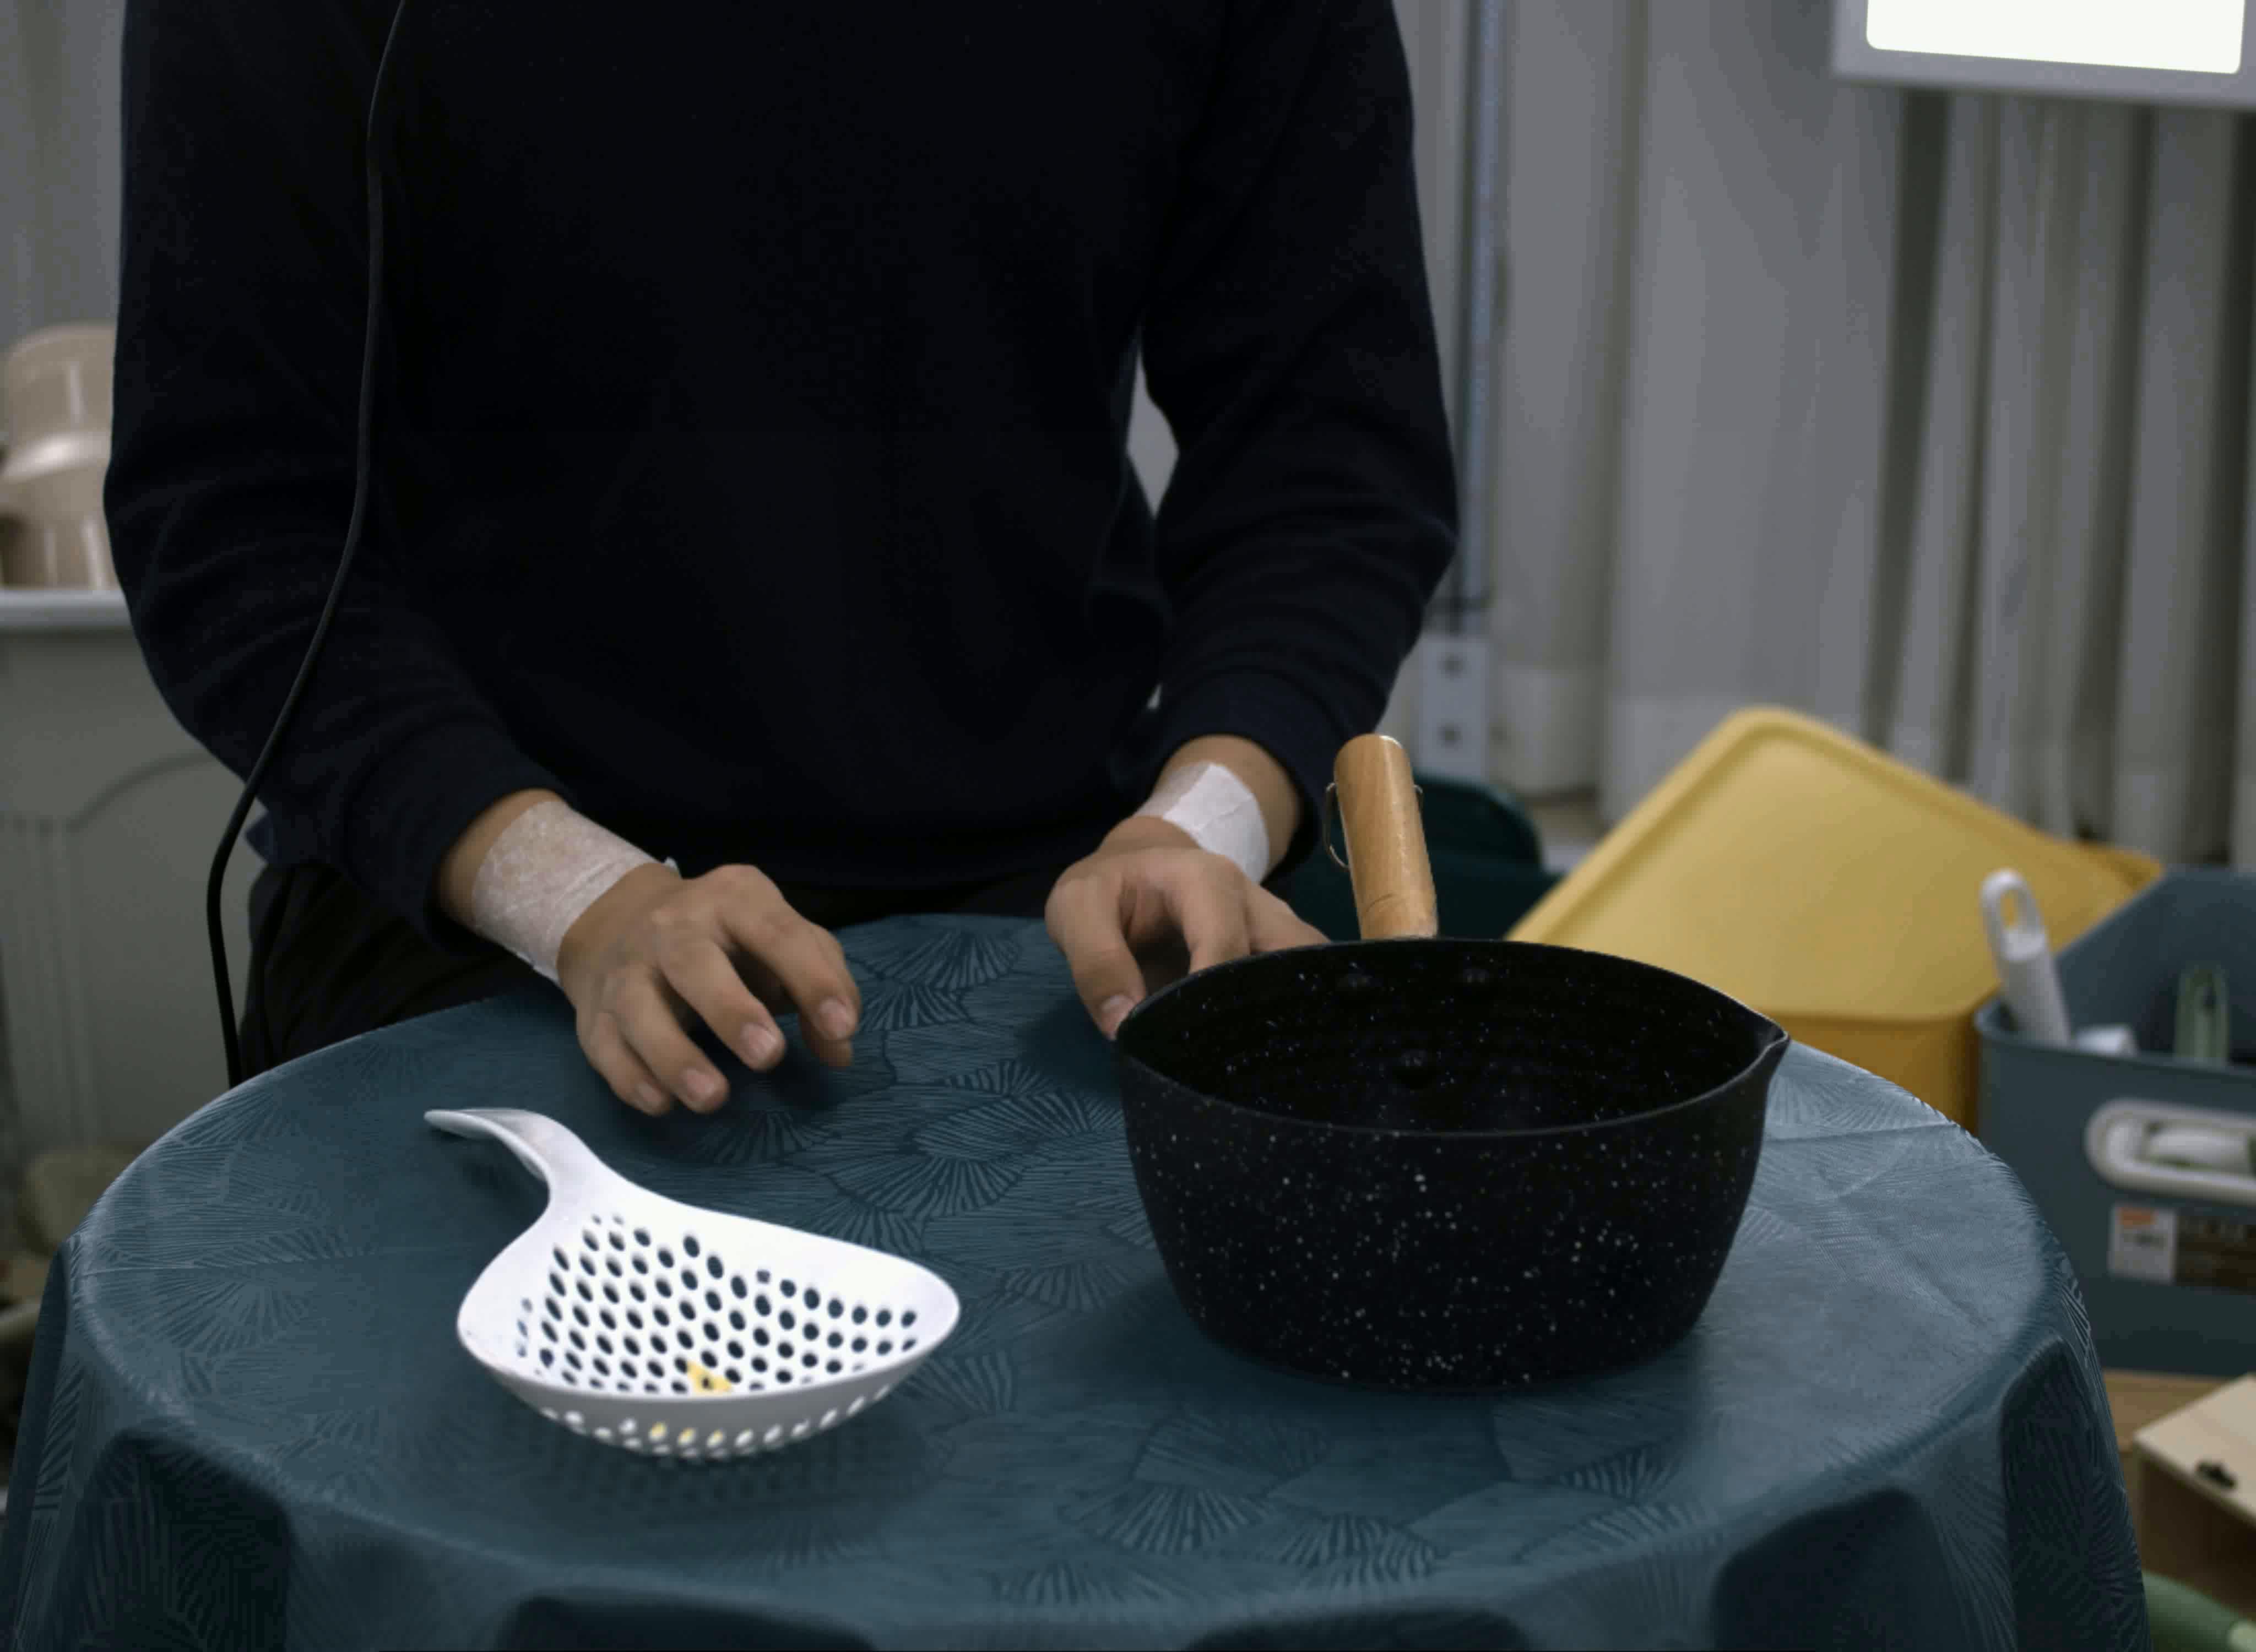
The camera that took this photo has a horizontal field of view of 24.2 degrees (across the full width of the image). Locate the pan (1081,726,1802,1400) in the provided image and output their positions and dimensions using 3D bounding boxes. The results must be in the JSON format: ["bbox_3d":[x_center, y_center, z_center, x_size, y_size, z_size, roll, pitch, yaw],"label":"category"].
[{"bbox_3d":[0.086,0.066,1.590,0.207,0.109,0.340,-2,17,-4],"label":"pan"}]

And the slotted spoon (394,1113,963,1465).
[{"bbox_3d":[-0.154,0.118,1.516,0.137,0.051,0.344,-8,19,-21],"label":"slotted spoon"}]
